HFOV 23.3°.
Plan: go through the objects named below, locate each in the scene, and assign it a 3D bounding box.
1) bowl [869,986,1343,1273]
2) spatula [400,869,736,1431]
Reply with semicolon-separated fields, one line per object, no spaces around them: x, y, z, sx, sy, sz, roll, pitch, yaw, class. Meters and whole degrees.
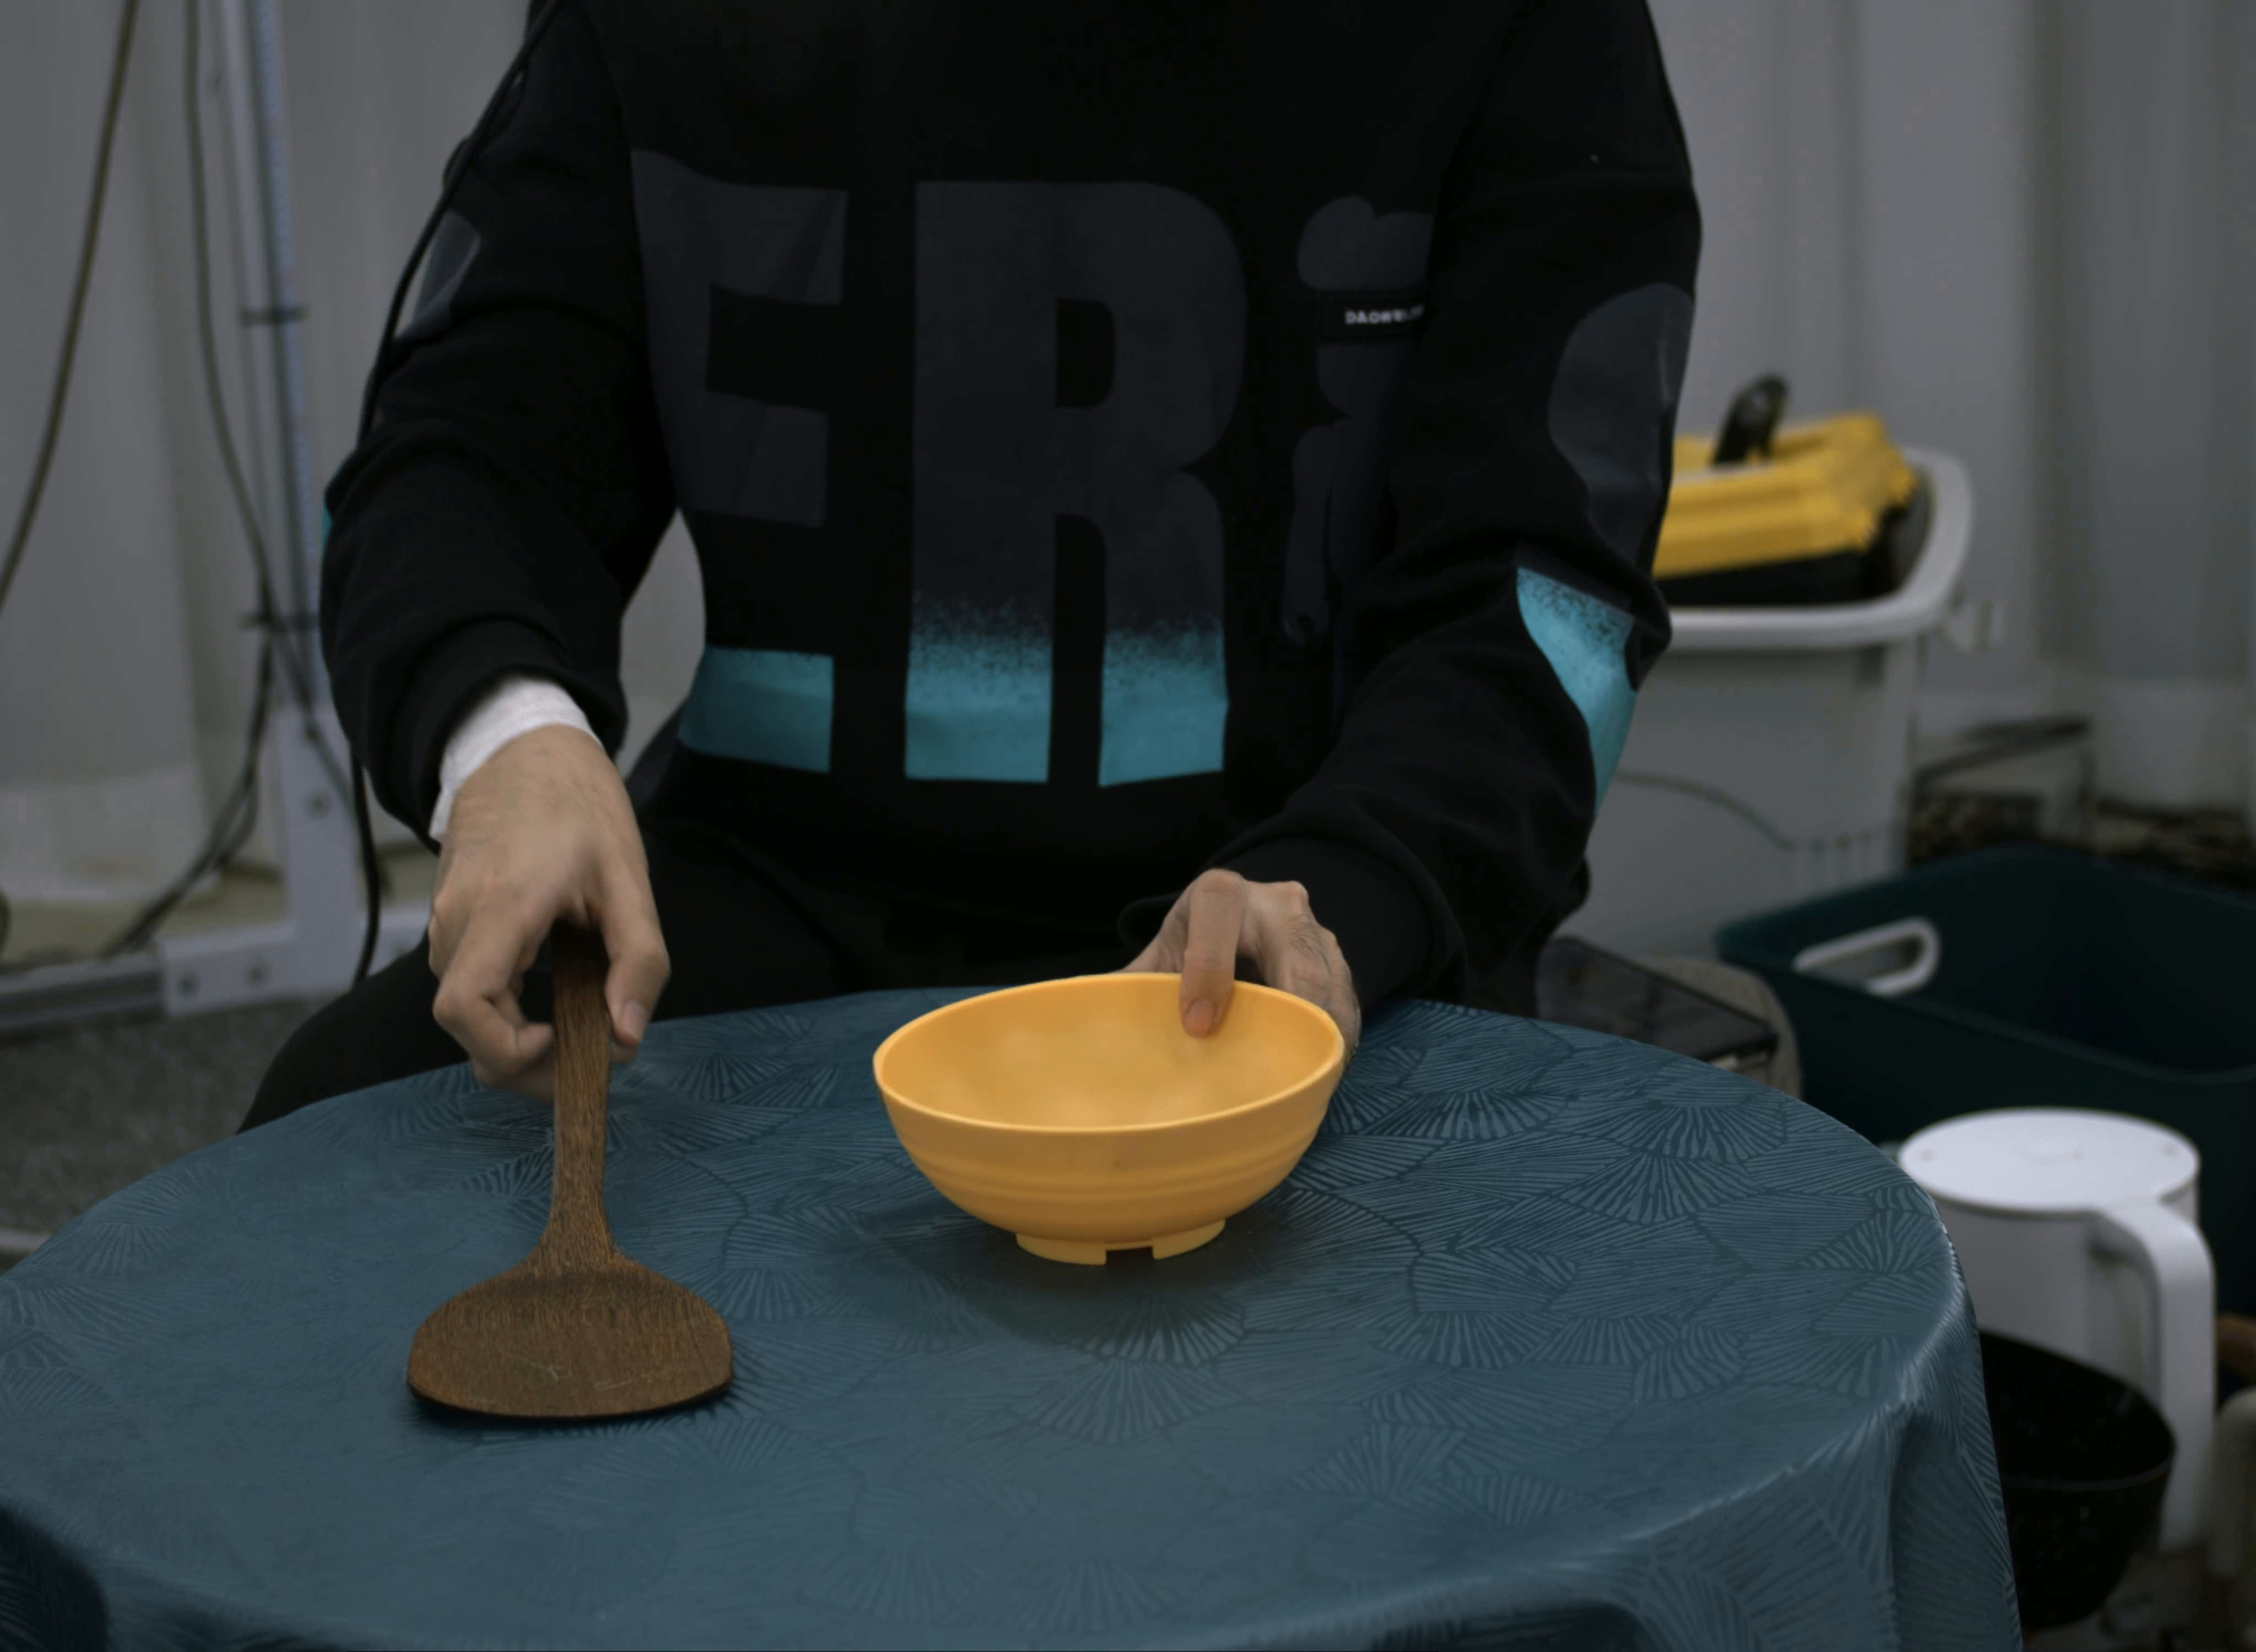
-0.006;0.098;1.671;0.145;0.060;0.146;-1;15;0;bowl
-0.172;0.093;1.715;0.096;0.015;0.390;-1;24;-4;spatula
